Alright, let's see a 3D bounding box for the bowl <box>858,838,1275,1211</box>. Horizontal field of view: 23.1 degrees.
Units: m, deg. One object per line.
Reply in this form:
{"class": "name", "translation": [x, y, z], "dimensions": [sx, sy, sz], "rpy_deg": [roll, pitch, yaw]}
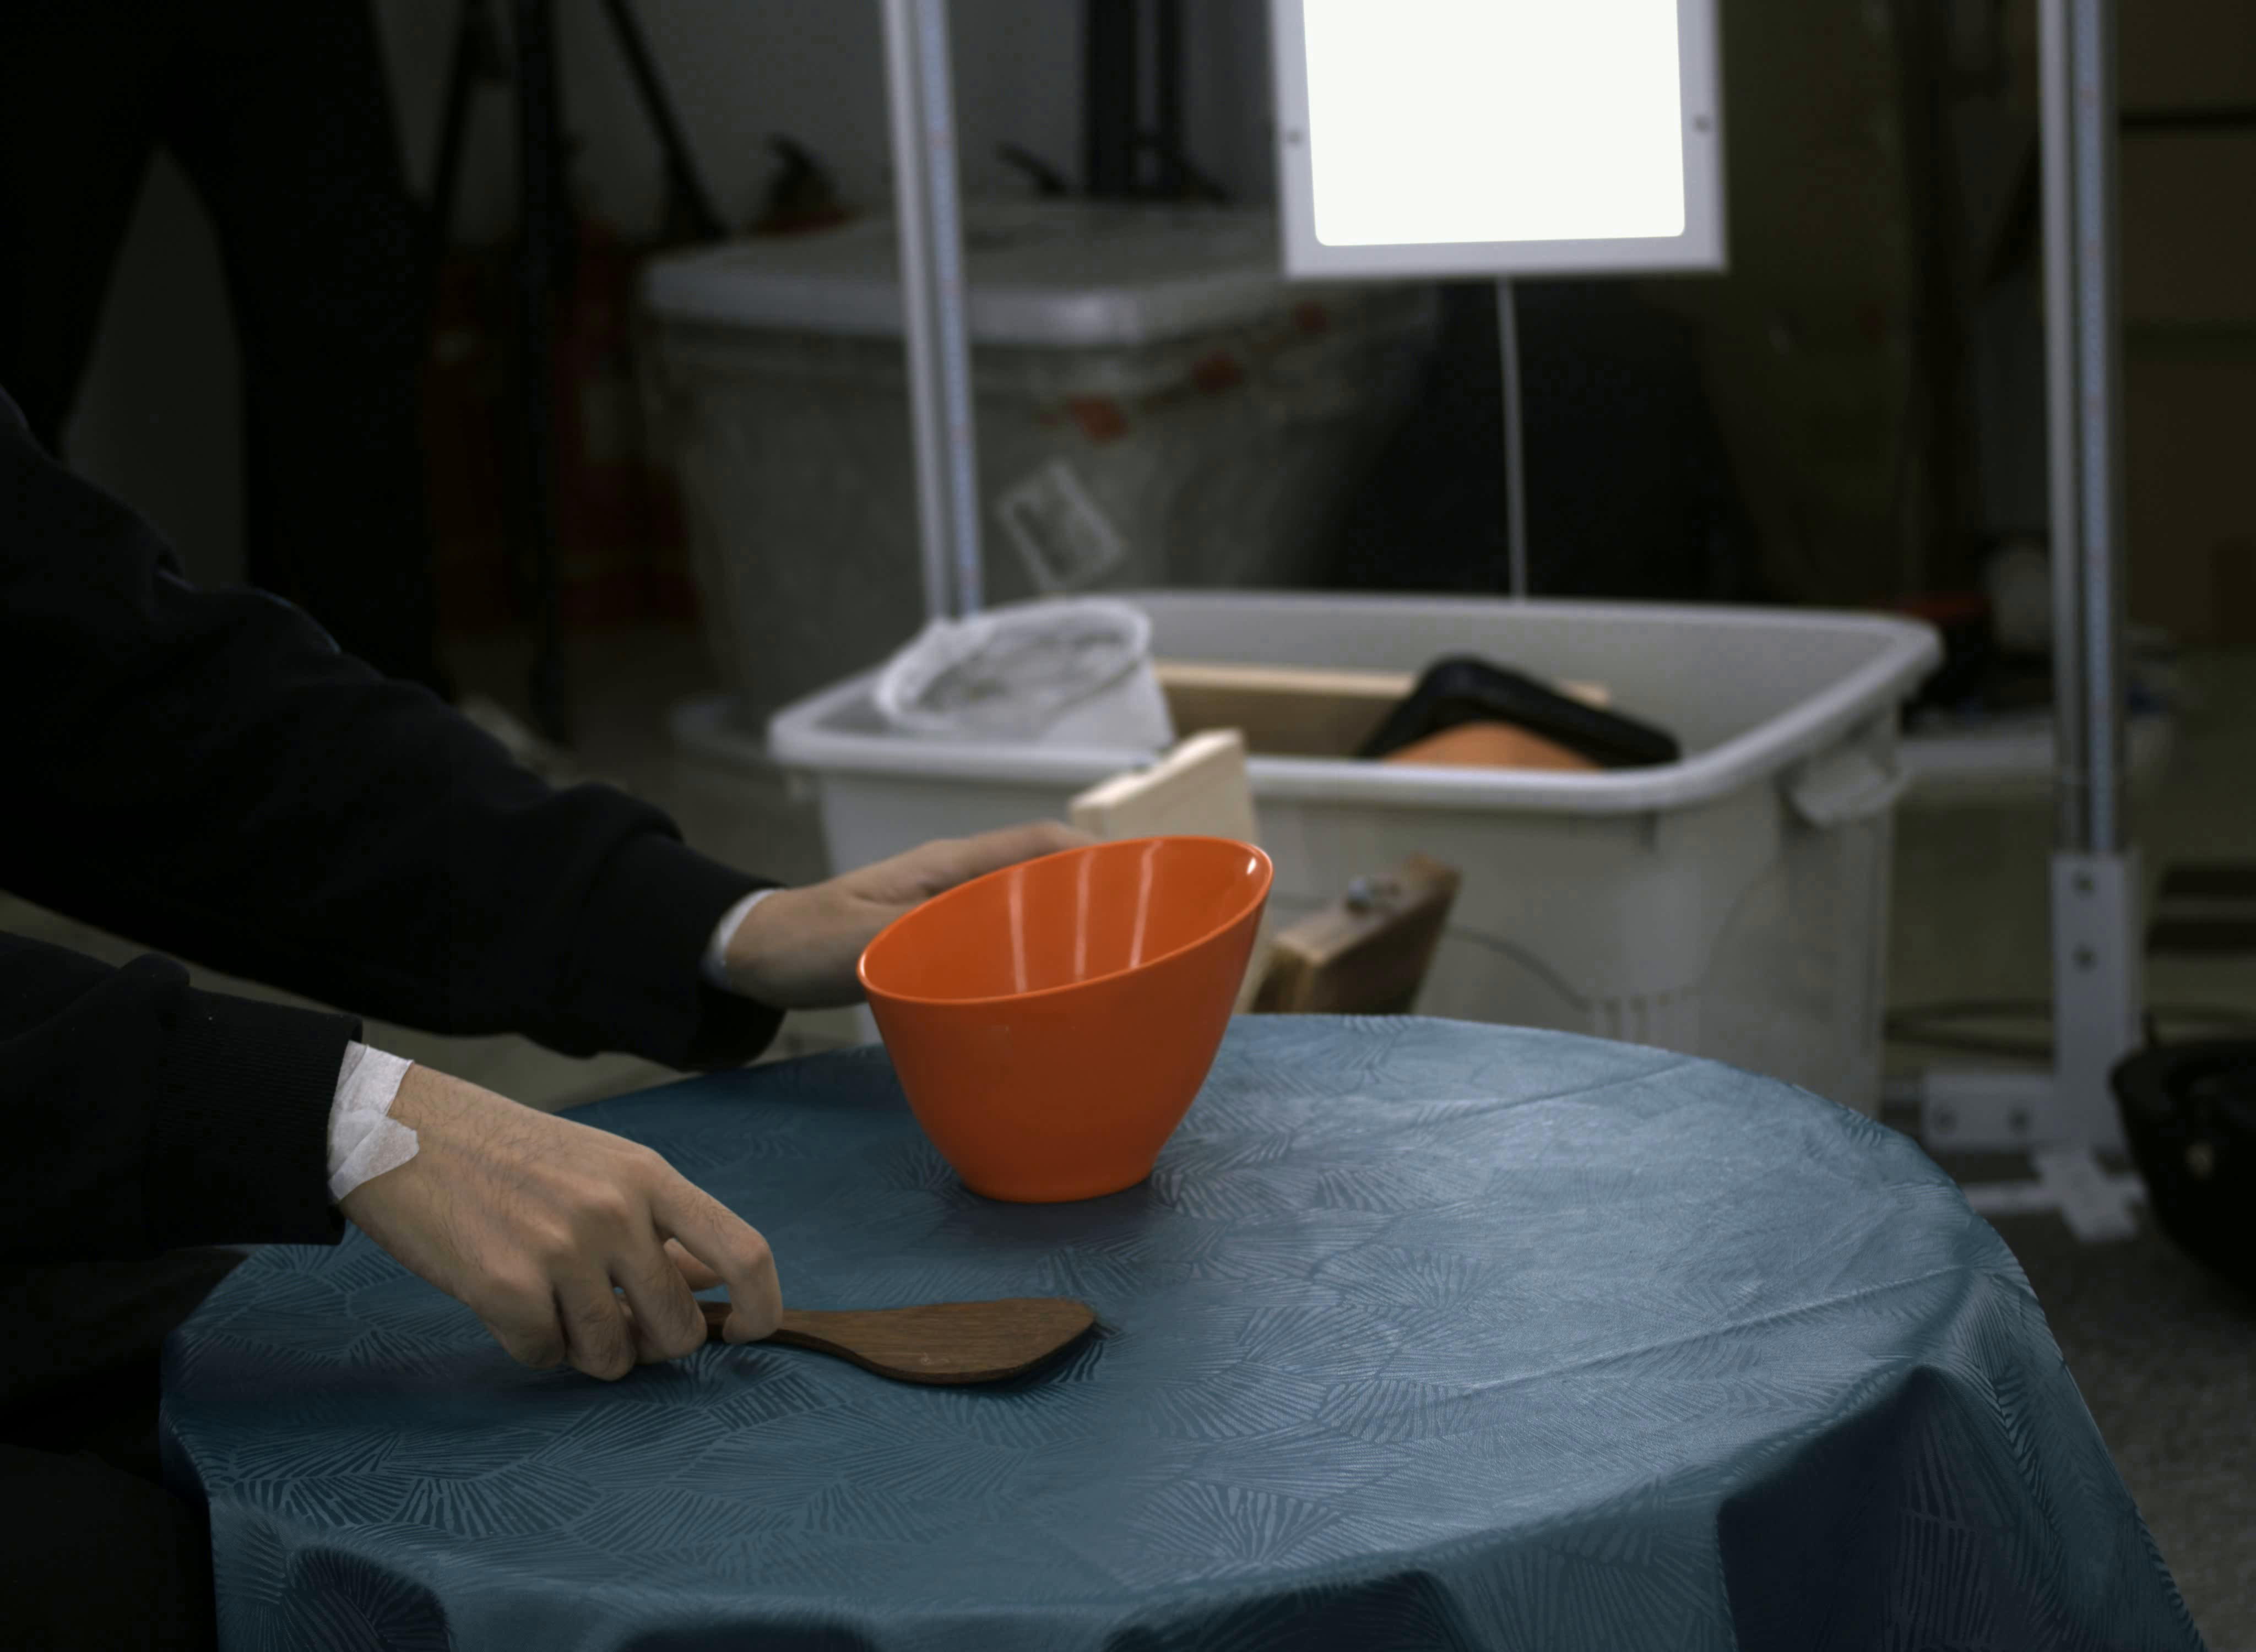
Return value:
{"class": "bowl", "translation": [-0.017, 0.072, 1.915], "dimensions": [0.147, 0.105, 0.148], "rpy_deg": [-6, 15, 0]}

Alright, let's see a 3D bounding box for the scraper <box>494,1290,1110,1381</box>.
{"class": "scraper", "translation": [-0.109, 0.161, 1.780], "dimensions": [0.215, 0.011, 0.074], "rpy_deg": [1, 14, 26]}
